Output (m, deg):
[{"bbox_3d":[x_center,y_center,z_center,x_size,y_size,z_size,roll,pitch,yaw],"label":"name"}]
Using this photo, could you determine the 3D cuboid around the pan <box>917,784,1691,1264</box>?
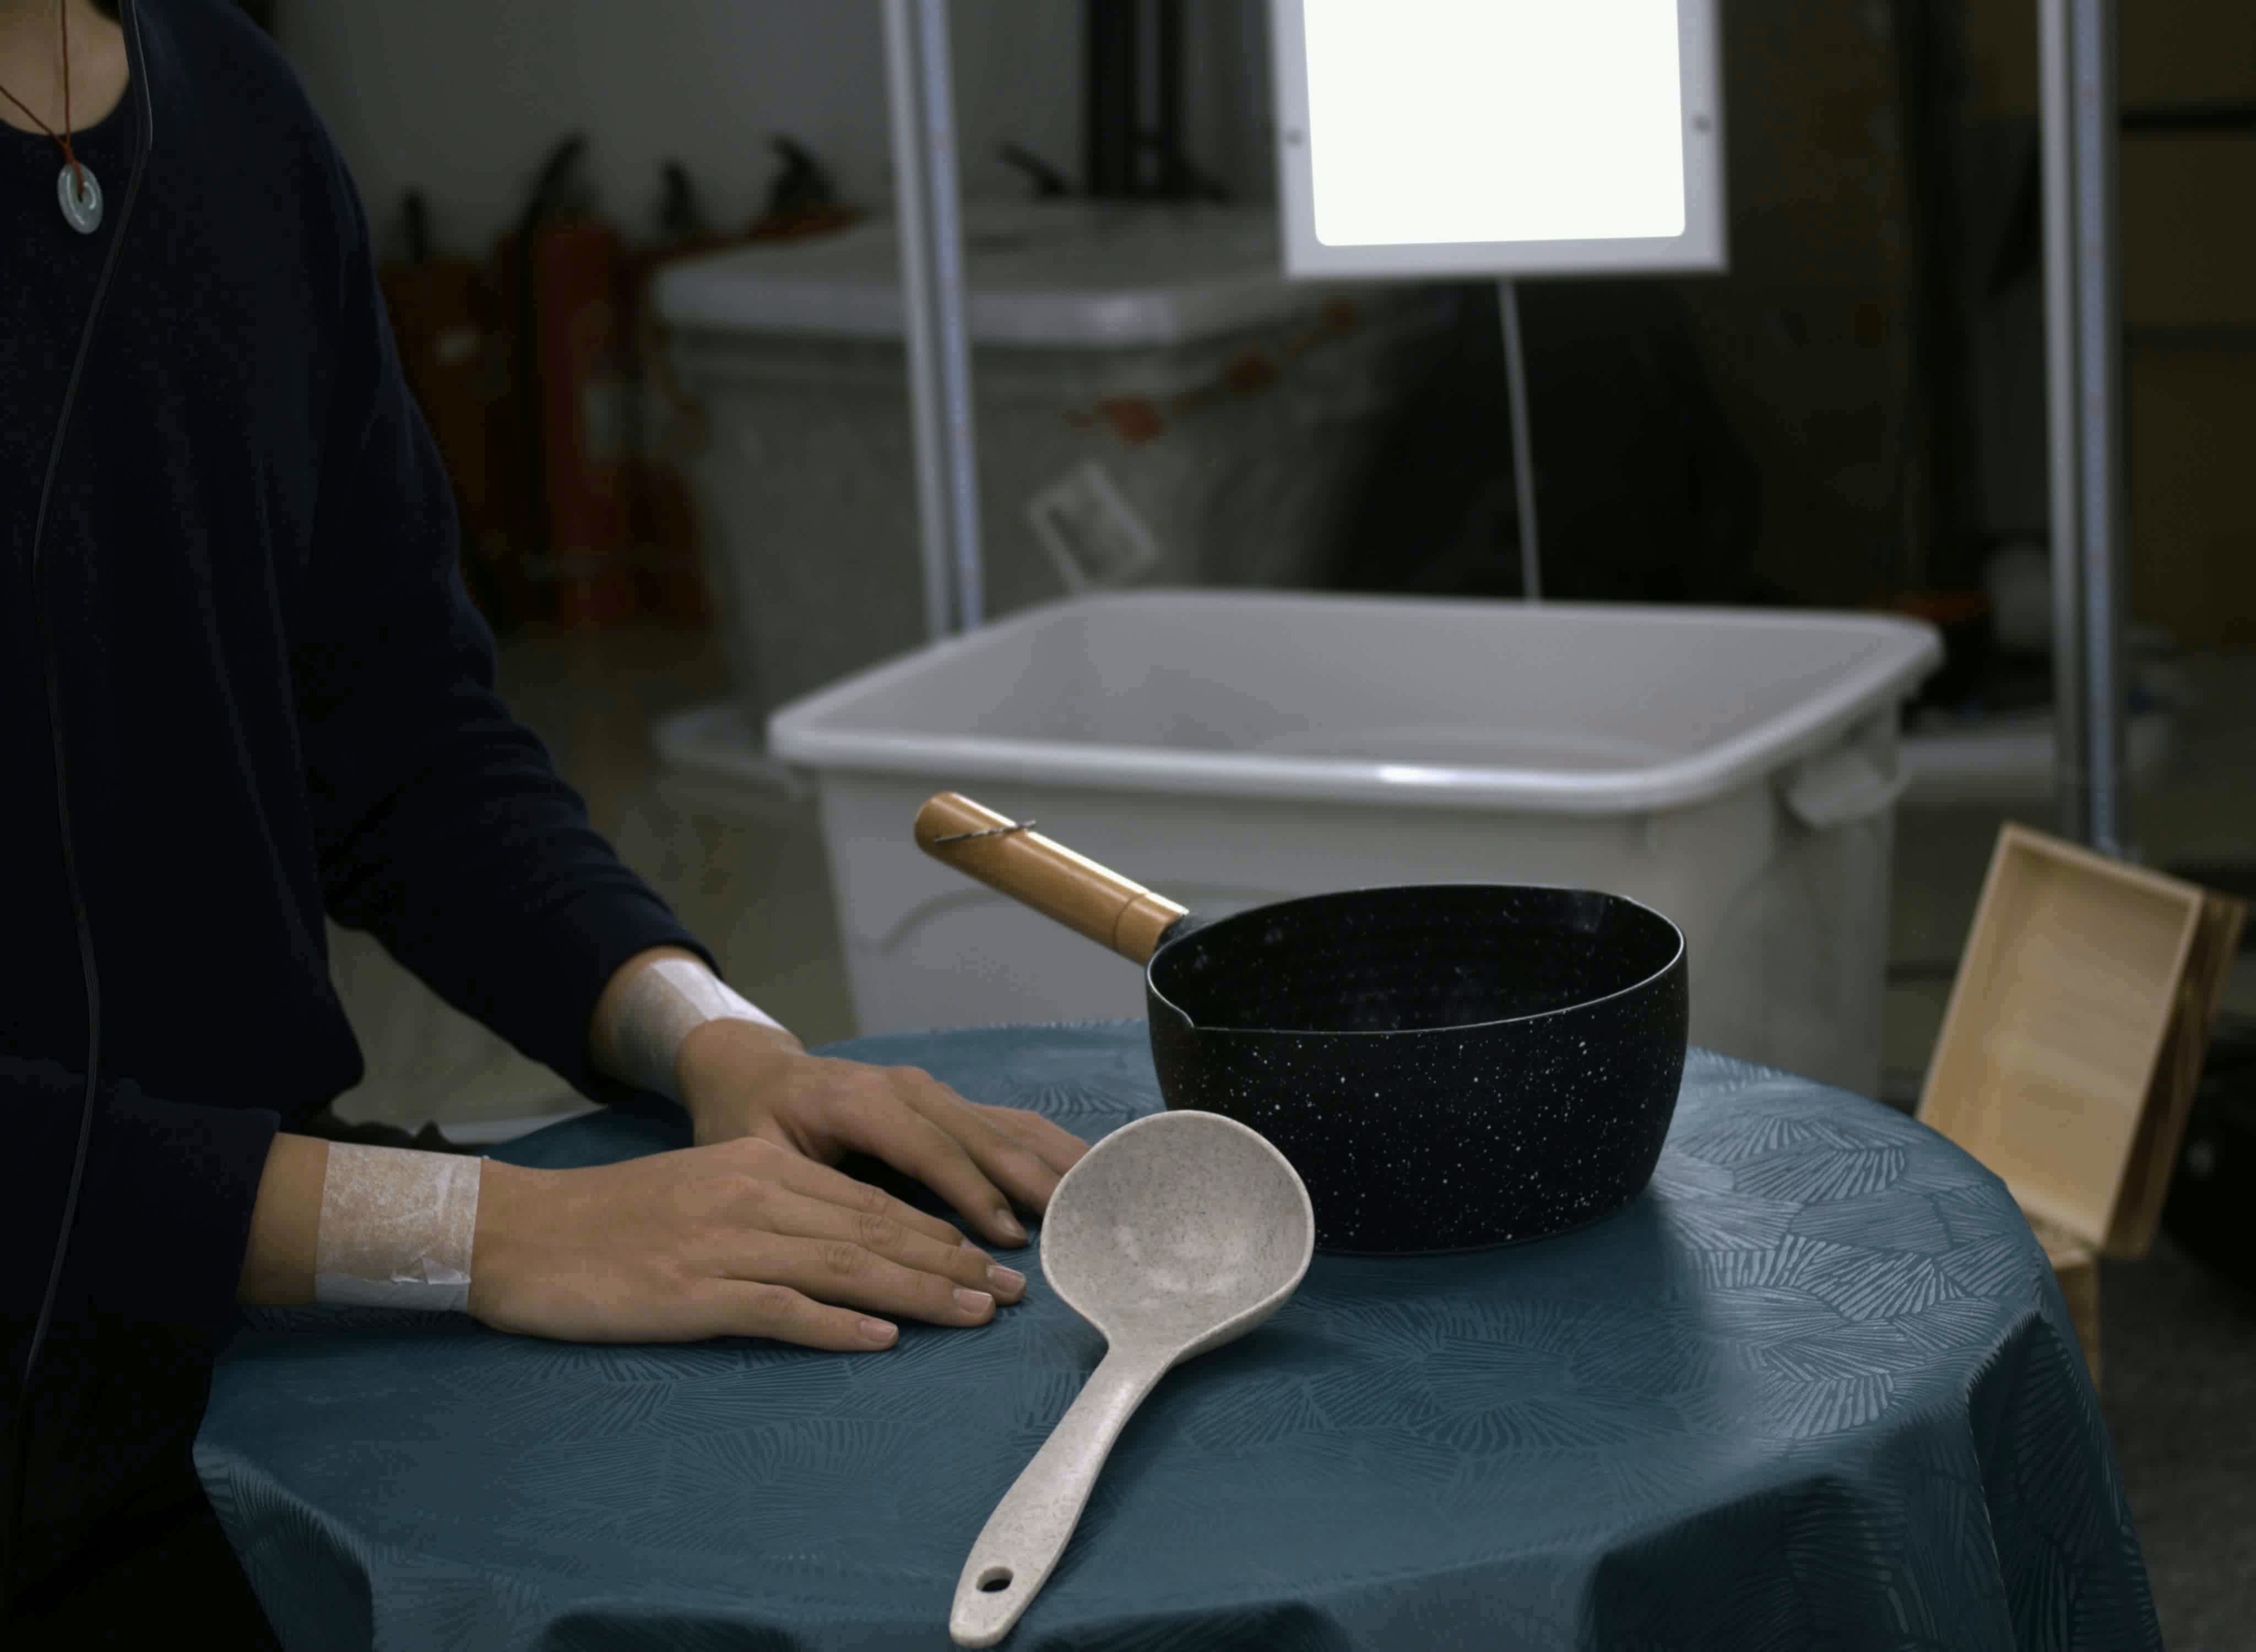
[{"bbox_3d":[0.045,0.062,1.917,0.202,0.108,0.350,-18,20,-39],"label":"pan"}]

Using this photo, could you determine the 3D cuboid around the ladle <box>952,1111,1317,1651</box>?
[{"bbox_3d":[-0.009,0.159,1.635,0.090,0.070,0.271,5,17,13],"label":"ladle"}]
